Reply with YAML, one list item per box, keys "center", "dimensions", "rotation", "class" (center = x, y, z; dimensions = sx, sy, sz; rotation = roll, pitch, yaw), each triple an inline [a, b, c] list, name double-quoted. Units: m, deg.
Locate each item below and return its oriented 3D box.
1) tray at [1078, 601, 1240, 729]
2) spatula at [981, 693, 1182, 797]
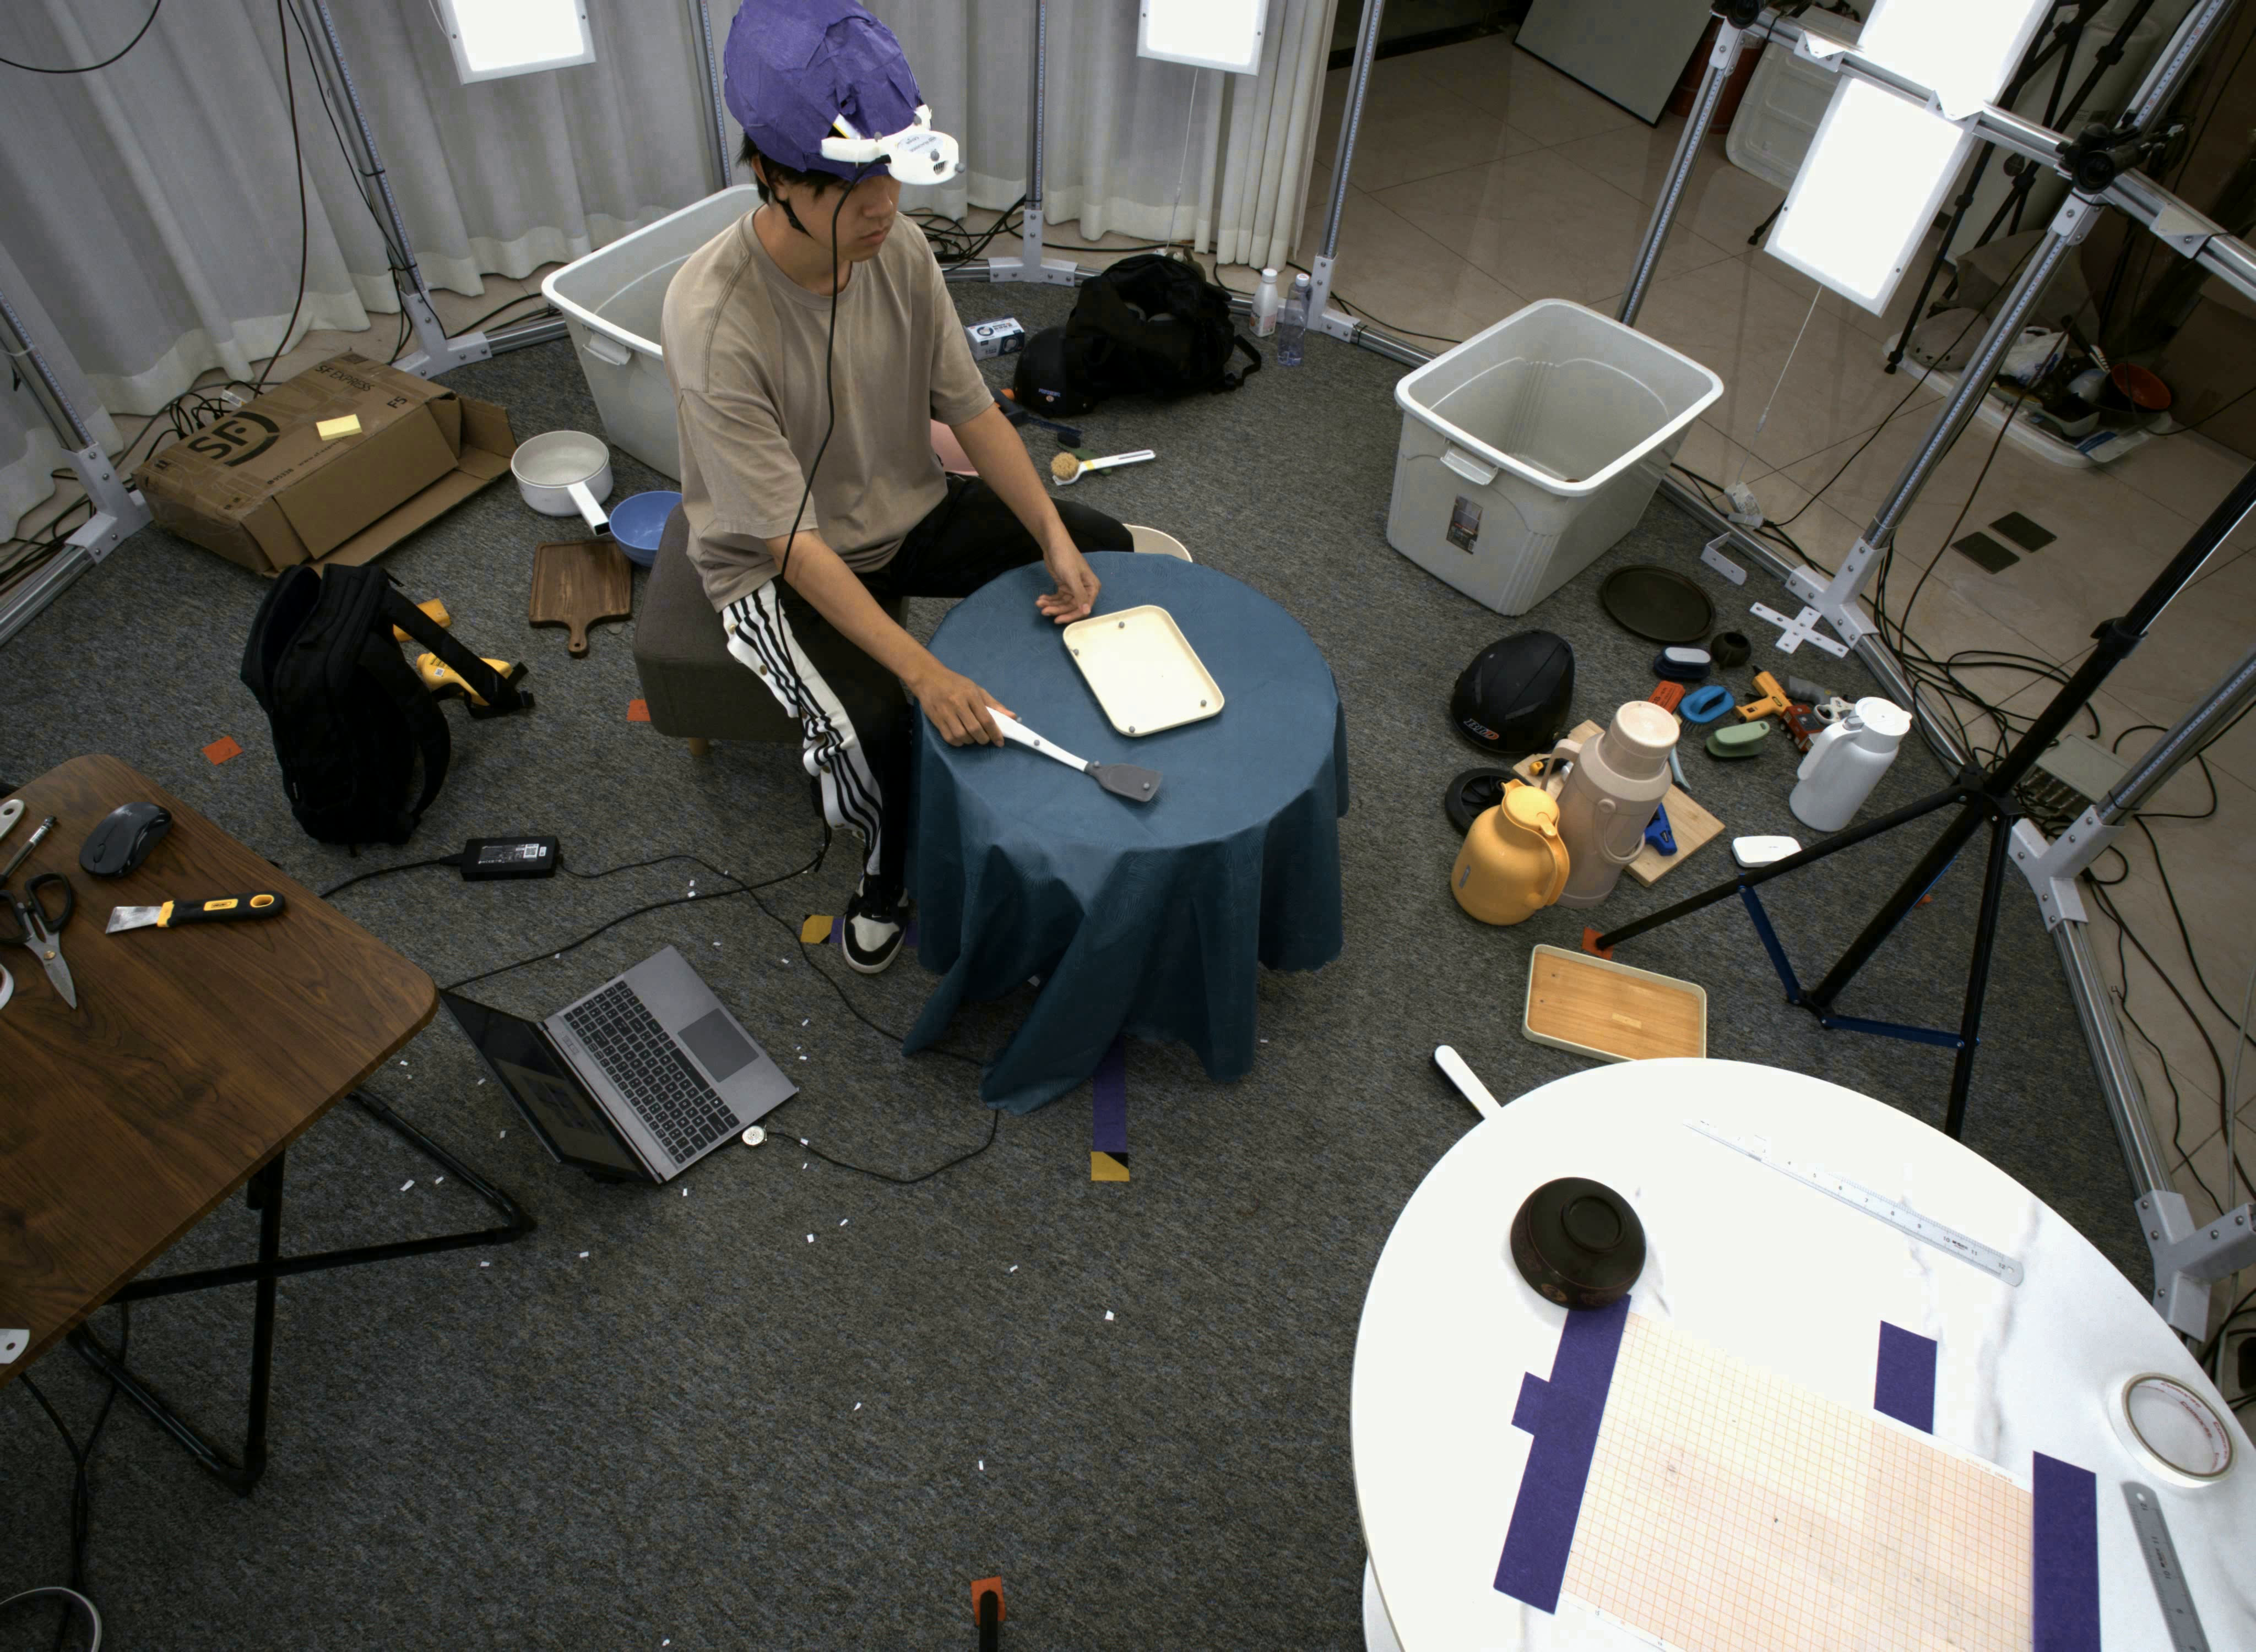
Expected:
- center: [0.042, -0.234, 1.849]
  dimensions: [0.171, 0.017, 0.245]
  rotation: [-15, 52, -19]
  class: "tray"
- center: [-0.064, -0.109, 1.716]
  dimensions: [0.289, 0.031, 0.060]
  rotation: [24, 53, 13]
  class: "spatula"
